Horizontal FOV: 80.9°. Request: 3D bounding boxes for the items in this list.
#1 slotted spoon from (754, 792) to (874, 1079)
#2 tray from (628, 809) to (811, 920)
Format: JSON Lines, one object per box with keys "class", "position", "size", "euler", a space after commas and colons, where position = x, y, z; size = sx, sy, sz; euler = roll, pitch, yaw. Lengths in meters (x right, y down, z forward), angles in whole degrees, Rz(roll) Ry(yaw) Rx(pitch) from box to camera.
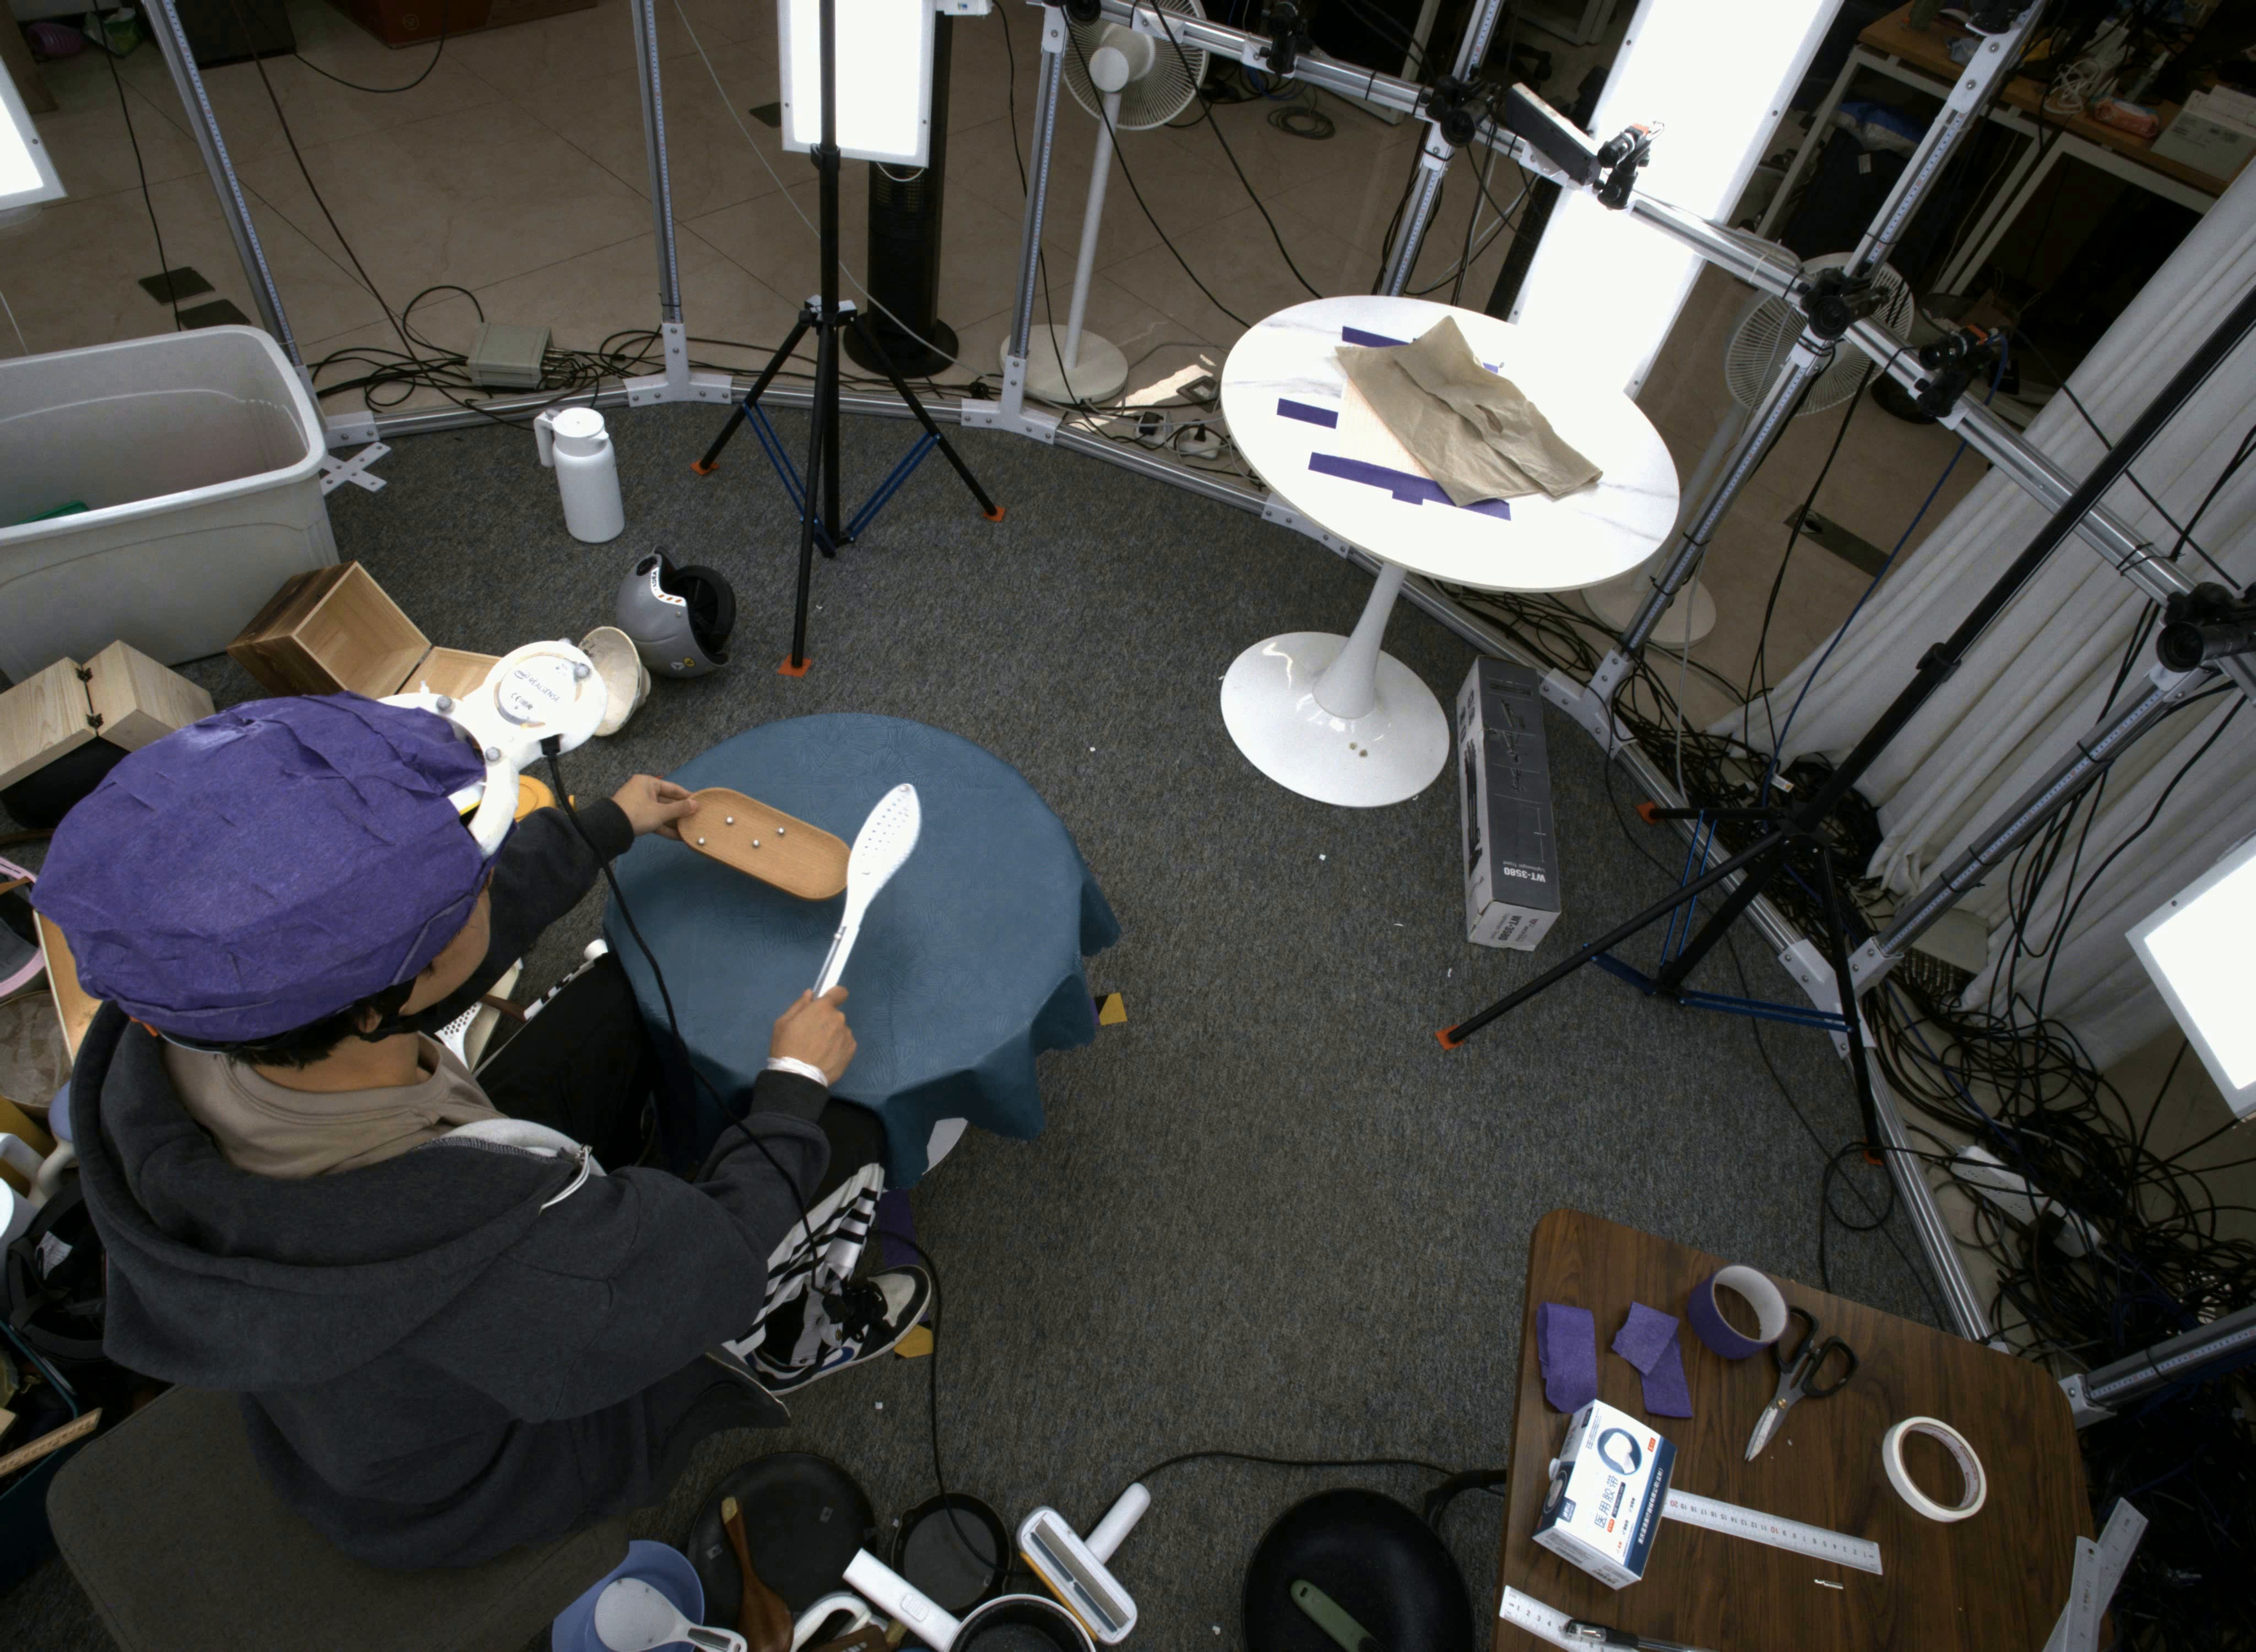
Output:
{"class": "slotted spoon", "position": [-0.363, 0.119, 1.491], "size": [0.047, 0.133, 0.347], "euler": [33, 60, -27]}
{"class": "tray", "position": [-0.503, 0.046, 1.589], "size": [0.231, 0.020, 0.100], "euler": [22, 54, -8]}
